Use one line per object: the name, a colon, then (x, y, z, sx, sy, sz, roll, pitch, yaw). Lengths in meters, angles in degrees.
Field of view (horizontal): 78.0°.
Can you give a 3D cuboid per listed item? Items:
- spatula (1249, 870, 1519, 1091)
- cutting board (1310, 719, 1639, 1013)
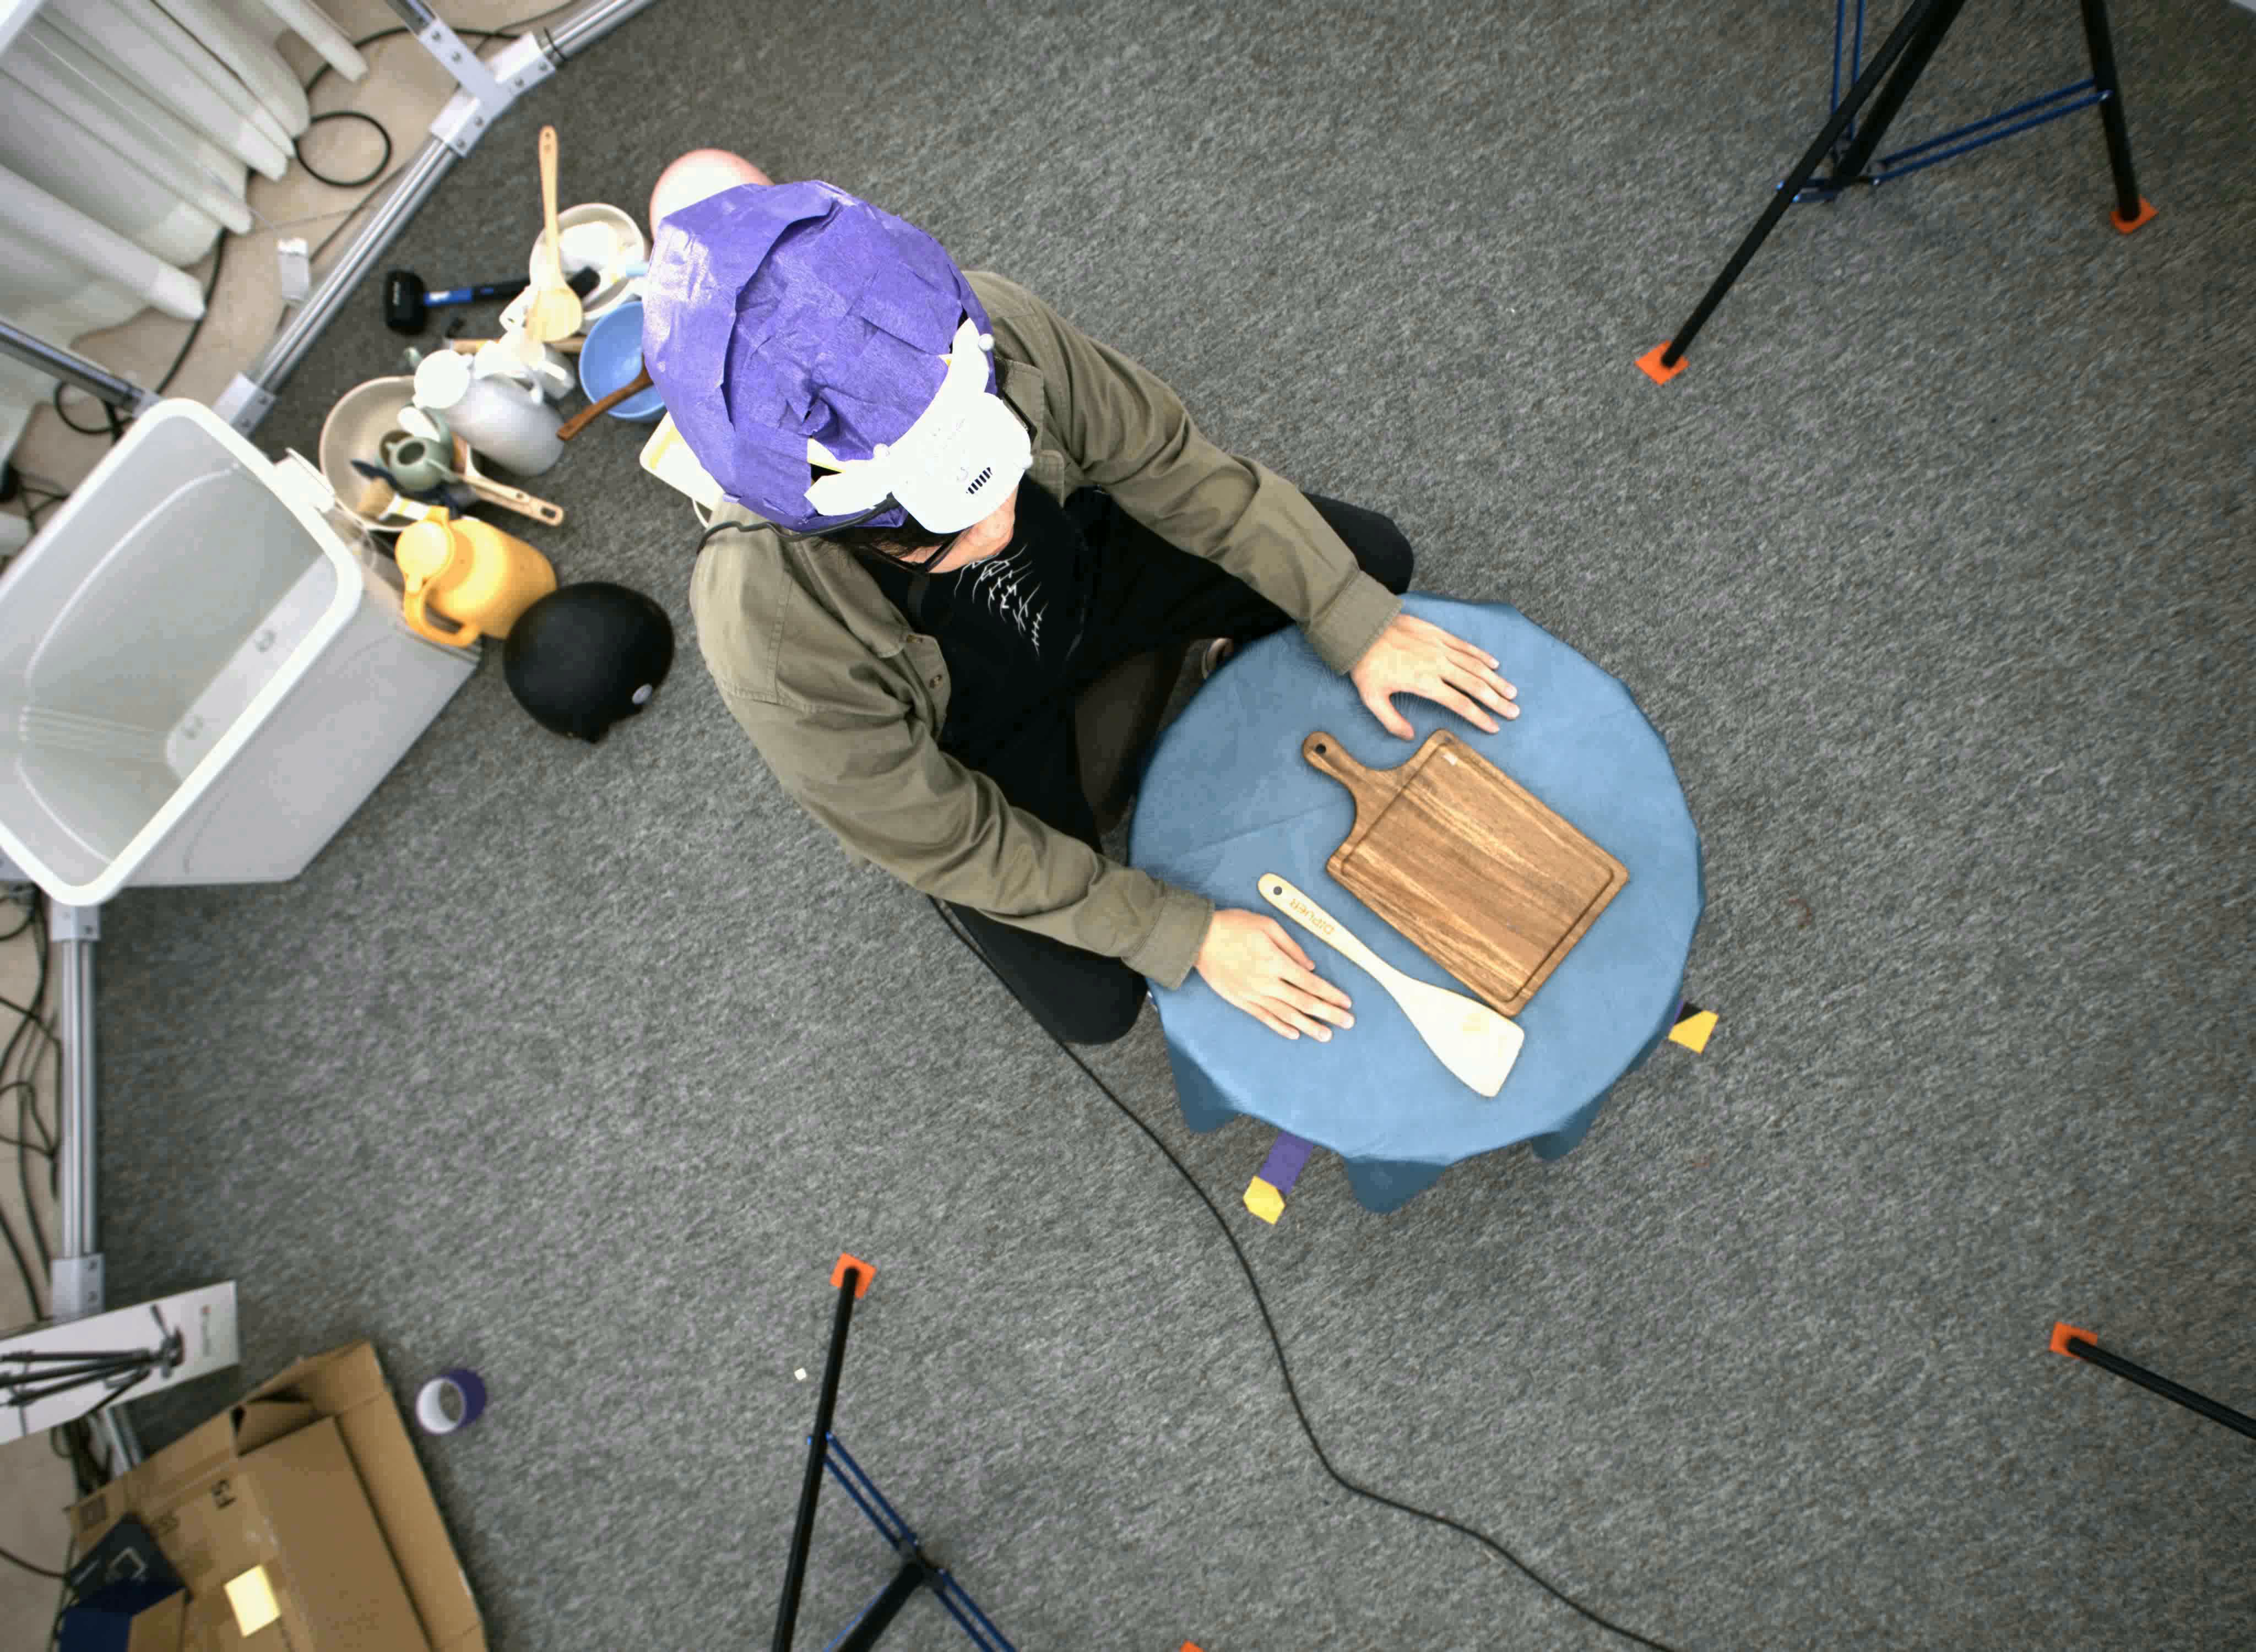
spatula: (0.261, 0.146, 1.439, 0.326, 0.016, 0.080, 37, 93, 9)
cutting board: (0.331, 0.006, 1.430, 0.351, 0.023, 0.202, 41, 95, 9)
